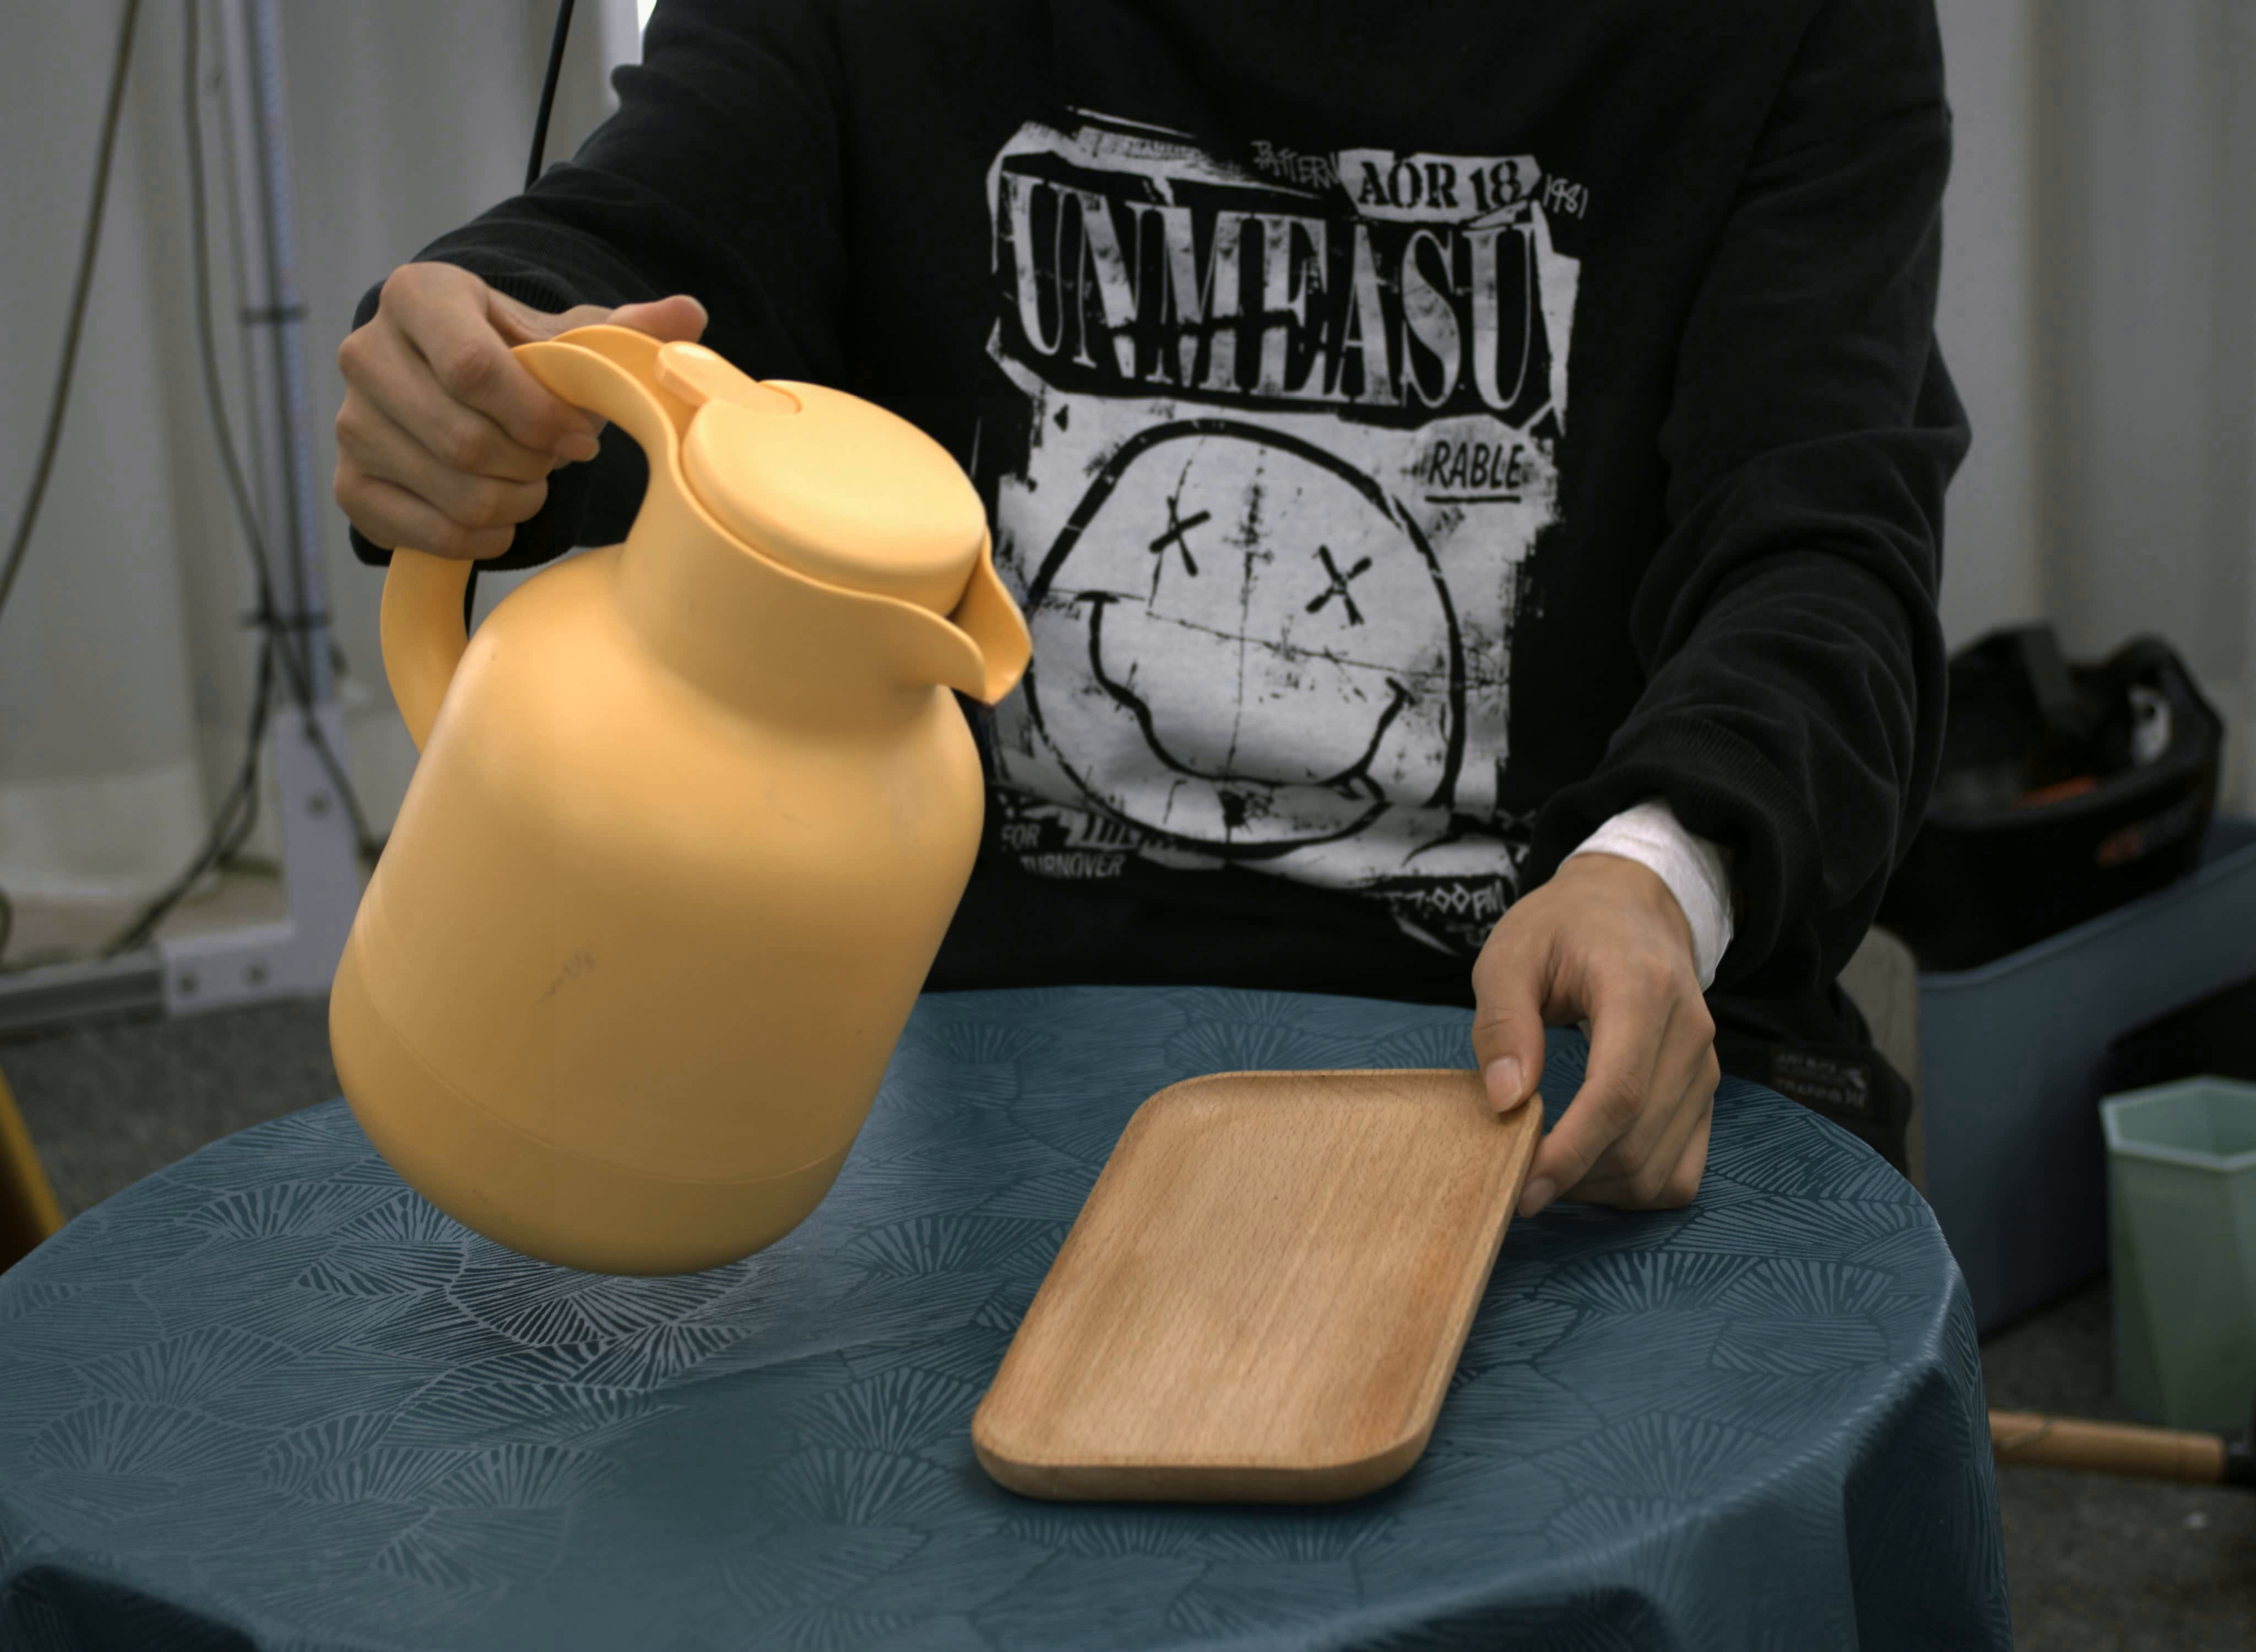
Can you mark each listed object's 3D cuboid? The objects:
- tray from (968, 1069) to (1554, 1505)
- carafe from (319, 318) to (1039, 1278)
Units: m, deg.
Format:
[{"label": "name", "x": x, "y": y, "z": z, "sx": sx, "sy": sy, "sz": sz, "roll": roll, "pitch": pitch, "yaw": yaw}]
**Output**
[{"label": "tray", "x": 0.042, "y": 0.128, "z": 1.561, "sx": 0.130, "sy": 0.023, "sz": 0.252, "roll": 2, "pitch": 22, "yaw": 15}, {"label": "carafe", "x": -0.138, "y": -0.017, "z": 1.595, "sx": 0.204, "sy": 0.258, "sz": 0.163, "roll": 40, "pitch": 31, "yaw": 22}]
